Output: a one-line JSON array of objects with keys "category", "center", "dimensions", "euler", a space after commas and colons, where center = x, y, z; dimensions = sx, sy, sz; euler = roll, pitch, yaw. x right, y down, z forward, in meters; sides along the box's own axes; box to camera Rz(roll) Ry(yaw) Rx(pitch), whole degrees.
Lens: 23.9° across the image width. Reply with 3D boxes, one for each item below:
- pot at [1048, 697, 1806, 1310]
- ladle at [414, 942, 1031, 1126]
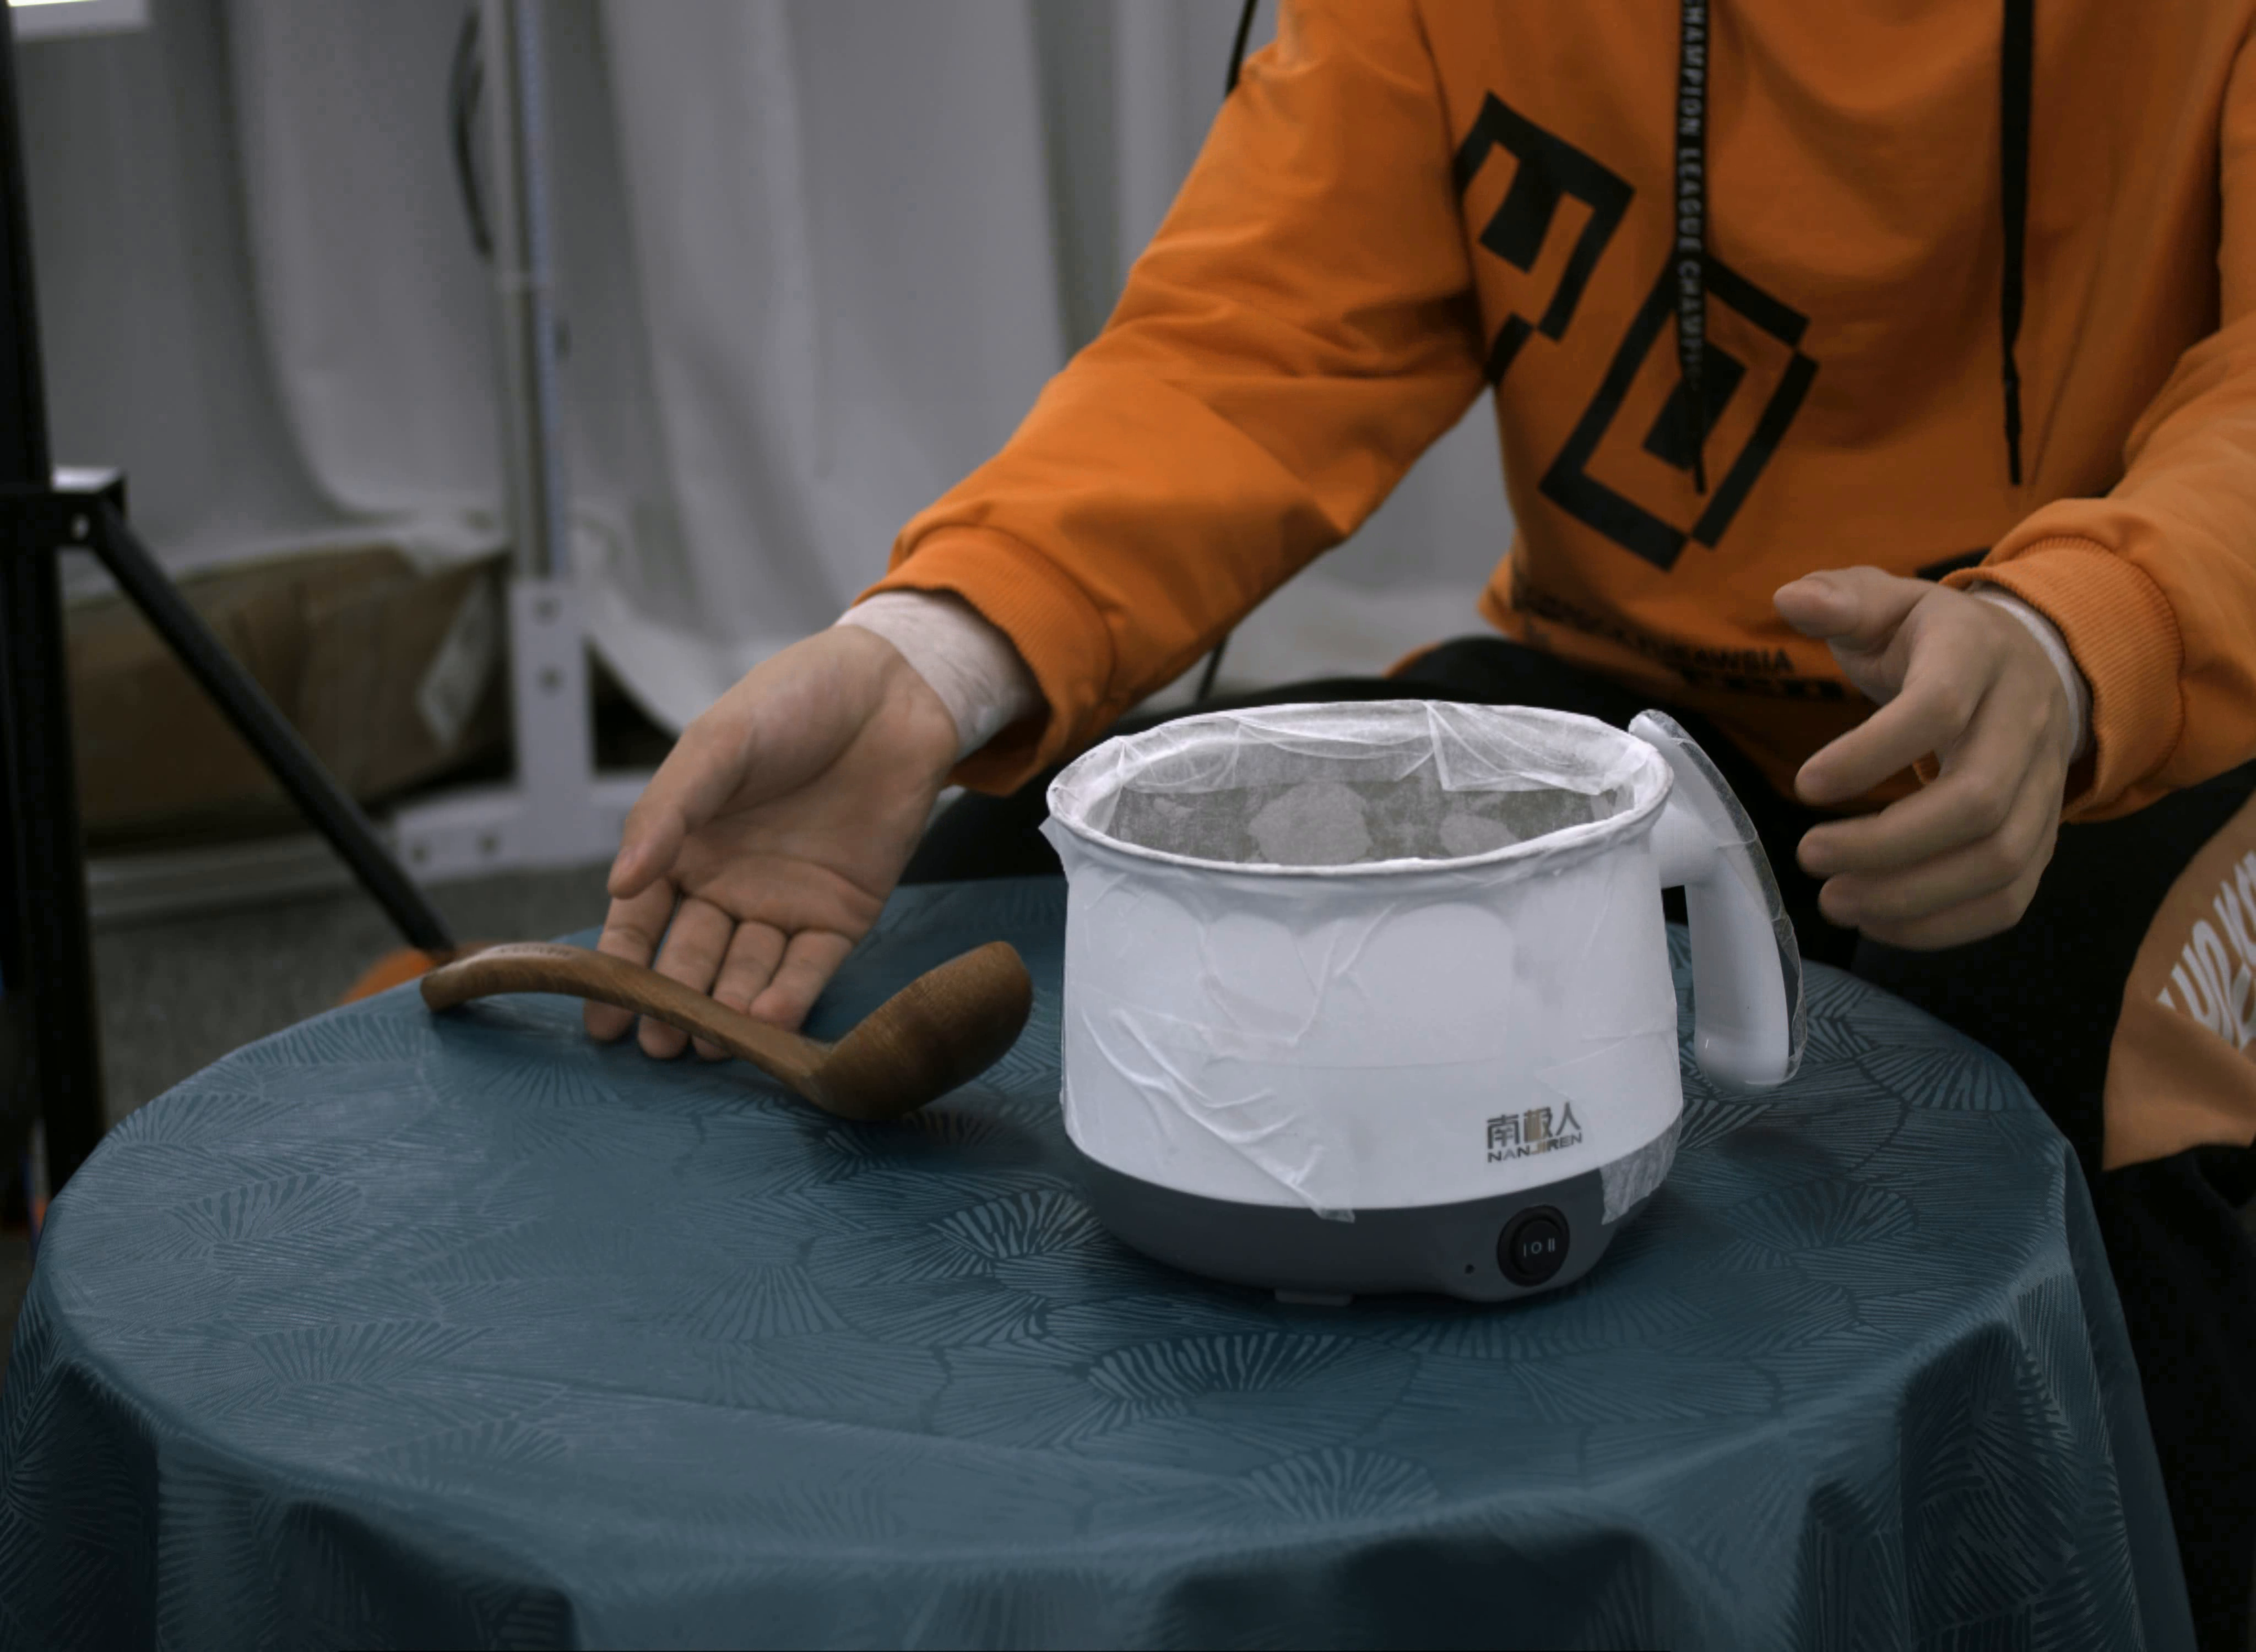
[{"category": "pot", "center": [0.092, 0.044, 1.518], "dimensions": [0.229, 0.136, 0.182], "euler": [-11, 18, -27]}, {"category": "ladle", "center": [-0.135, 0.048, 1.675], "dimensions": [0.266, 0.065, 0.075], "euler": [12, 19, 42]}]
